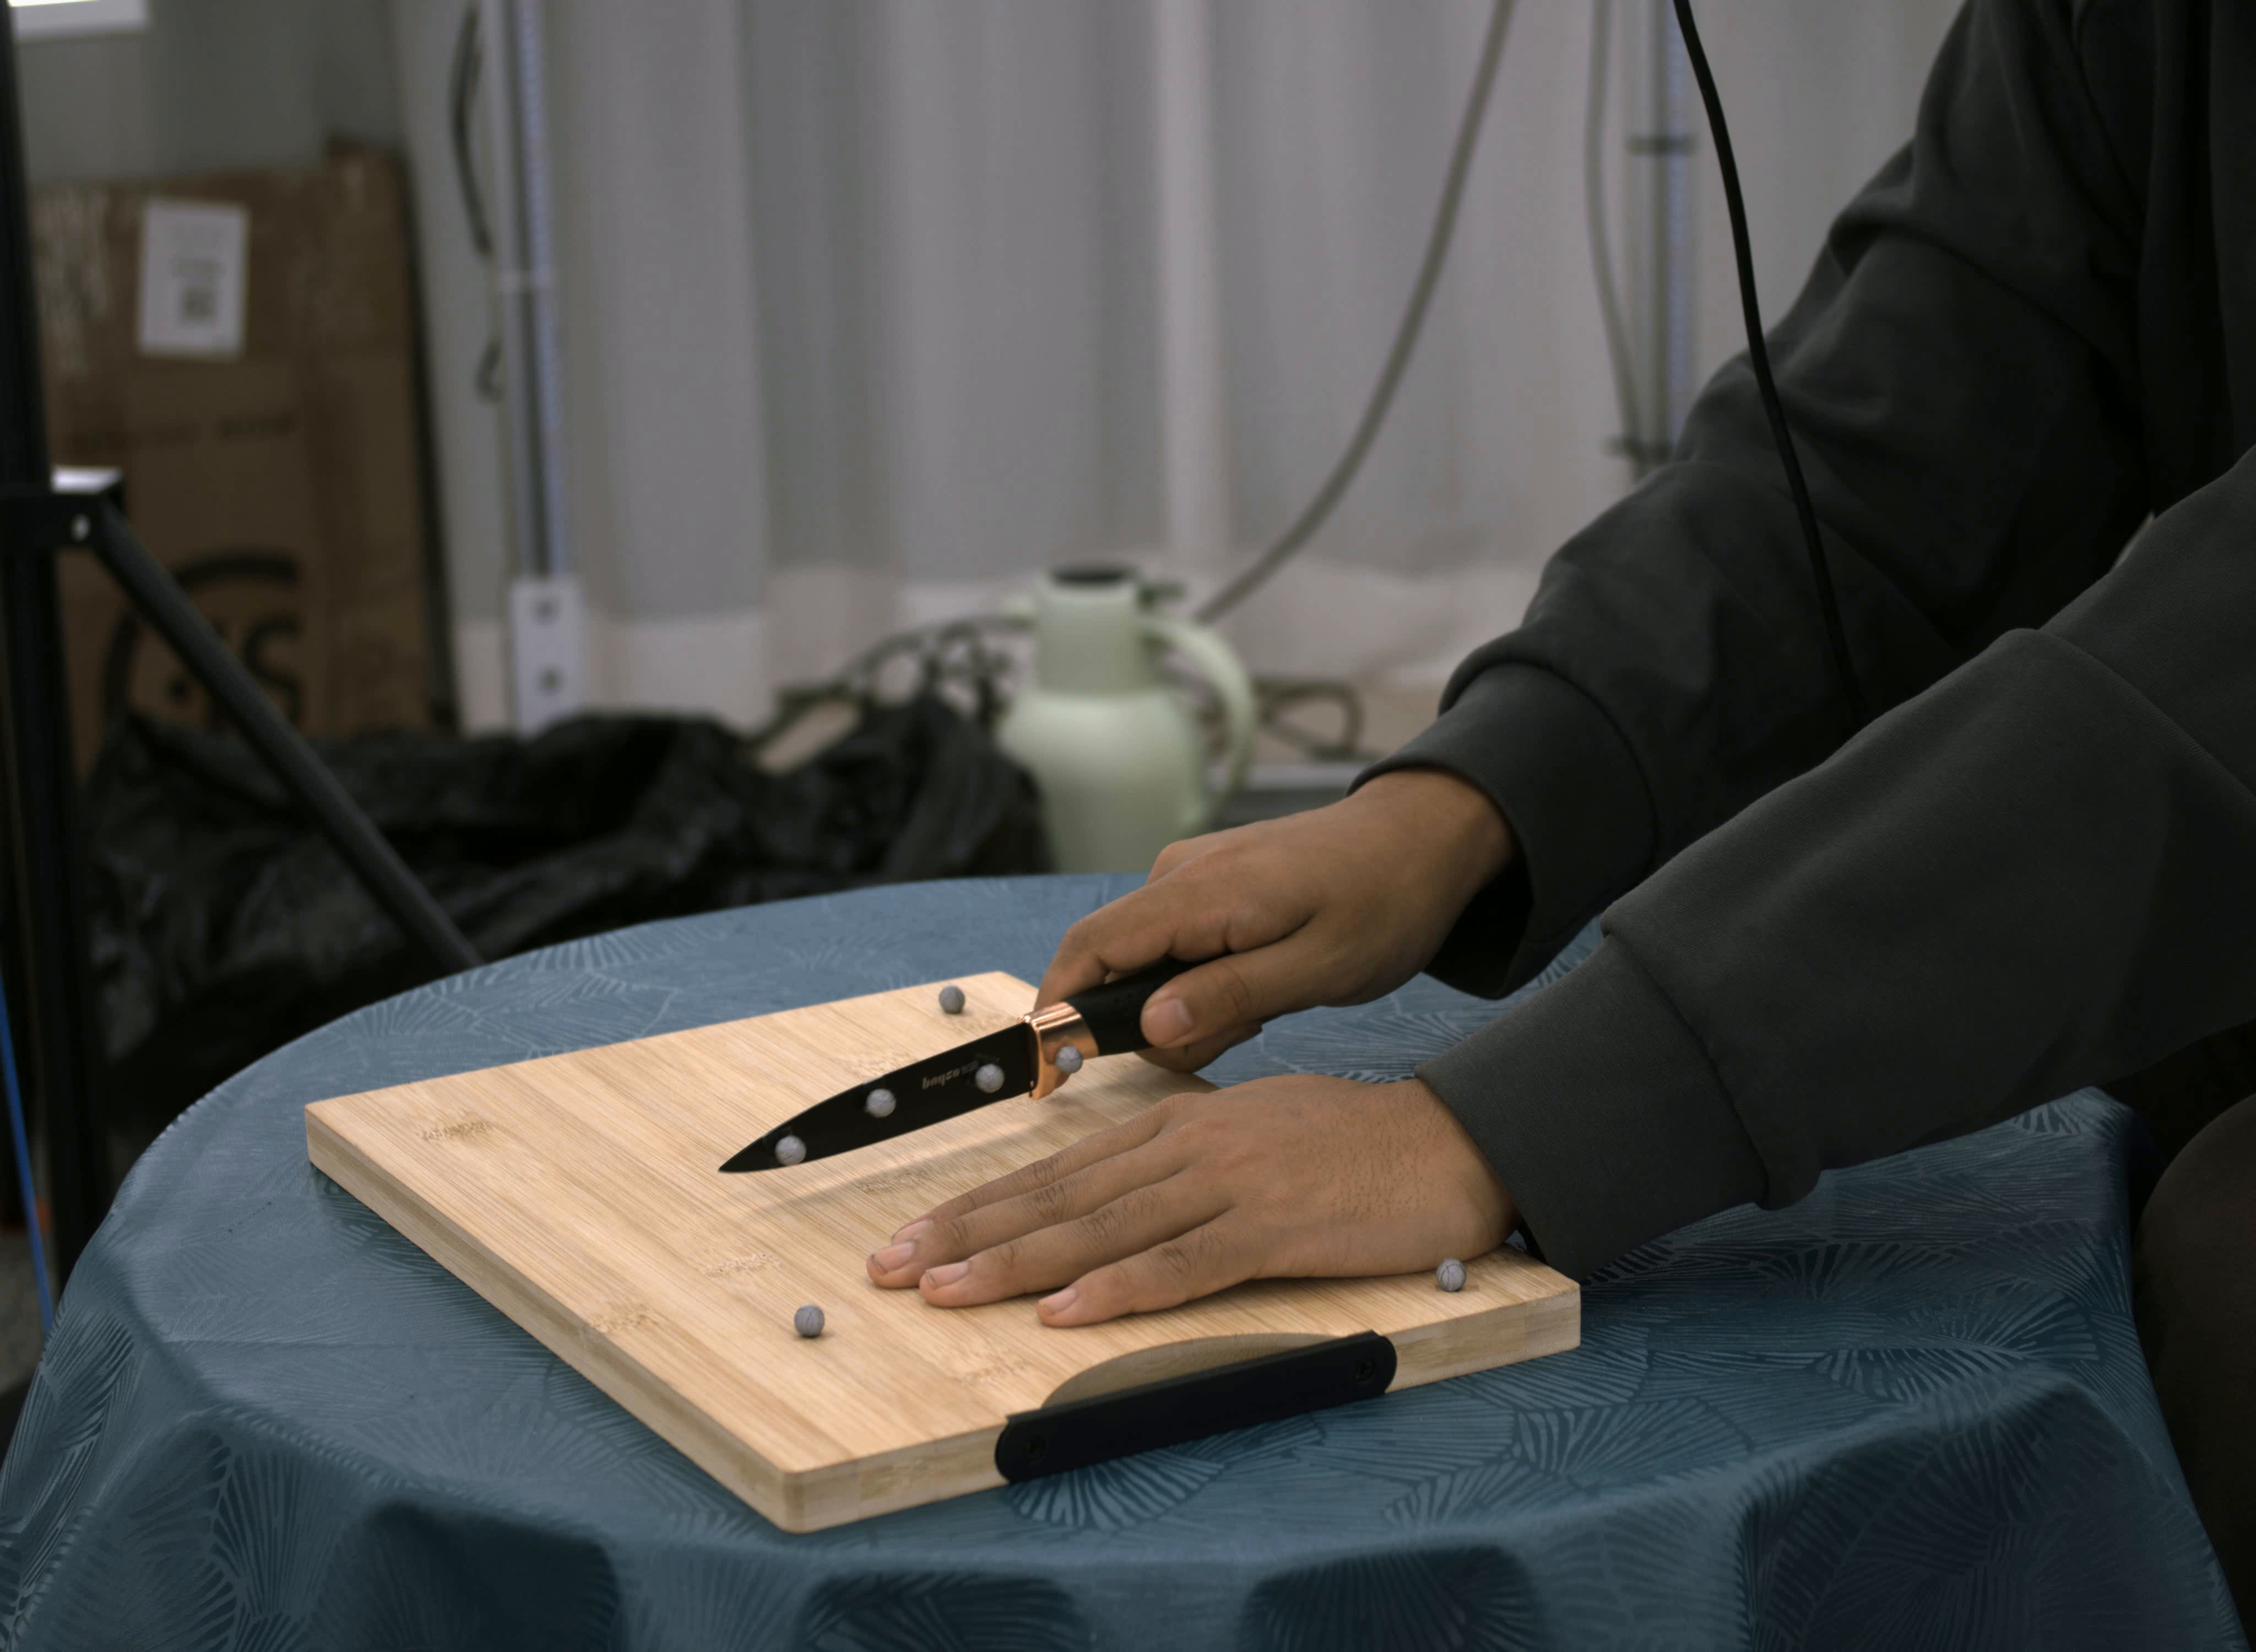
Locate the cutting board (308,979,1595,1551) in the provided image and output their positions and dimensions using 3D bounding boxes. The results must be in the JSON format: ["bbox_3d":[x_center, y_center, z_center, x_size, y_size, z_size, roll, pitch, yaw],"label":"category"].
[{"bbox_3d":[-0.061,0.115,1.513,0.245,0.023,0.356,-11,18,-27],"label":"cutting board"}]

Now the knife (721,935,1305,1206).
[{"bbox_3d":[-0.031,0.071,1.563,0.220,0.026,0.017,-20,24,-36],"label":"knife"}]
